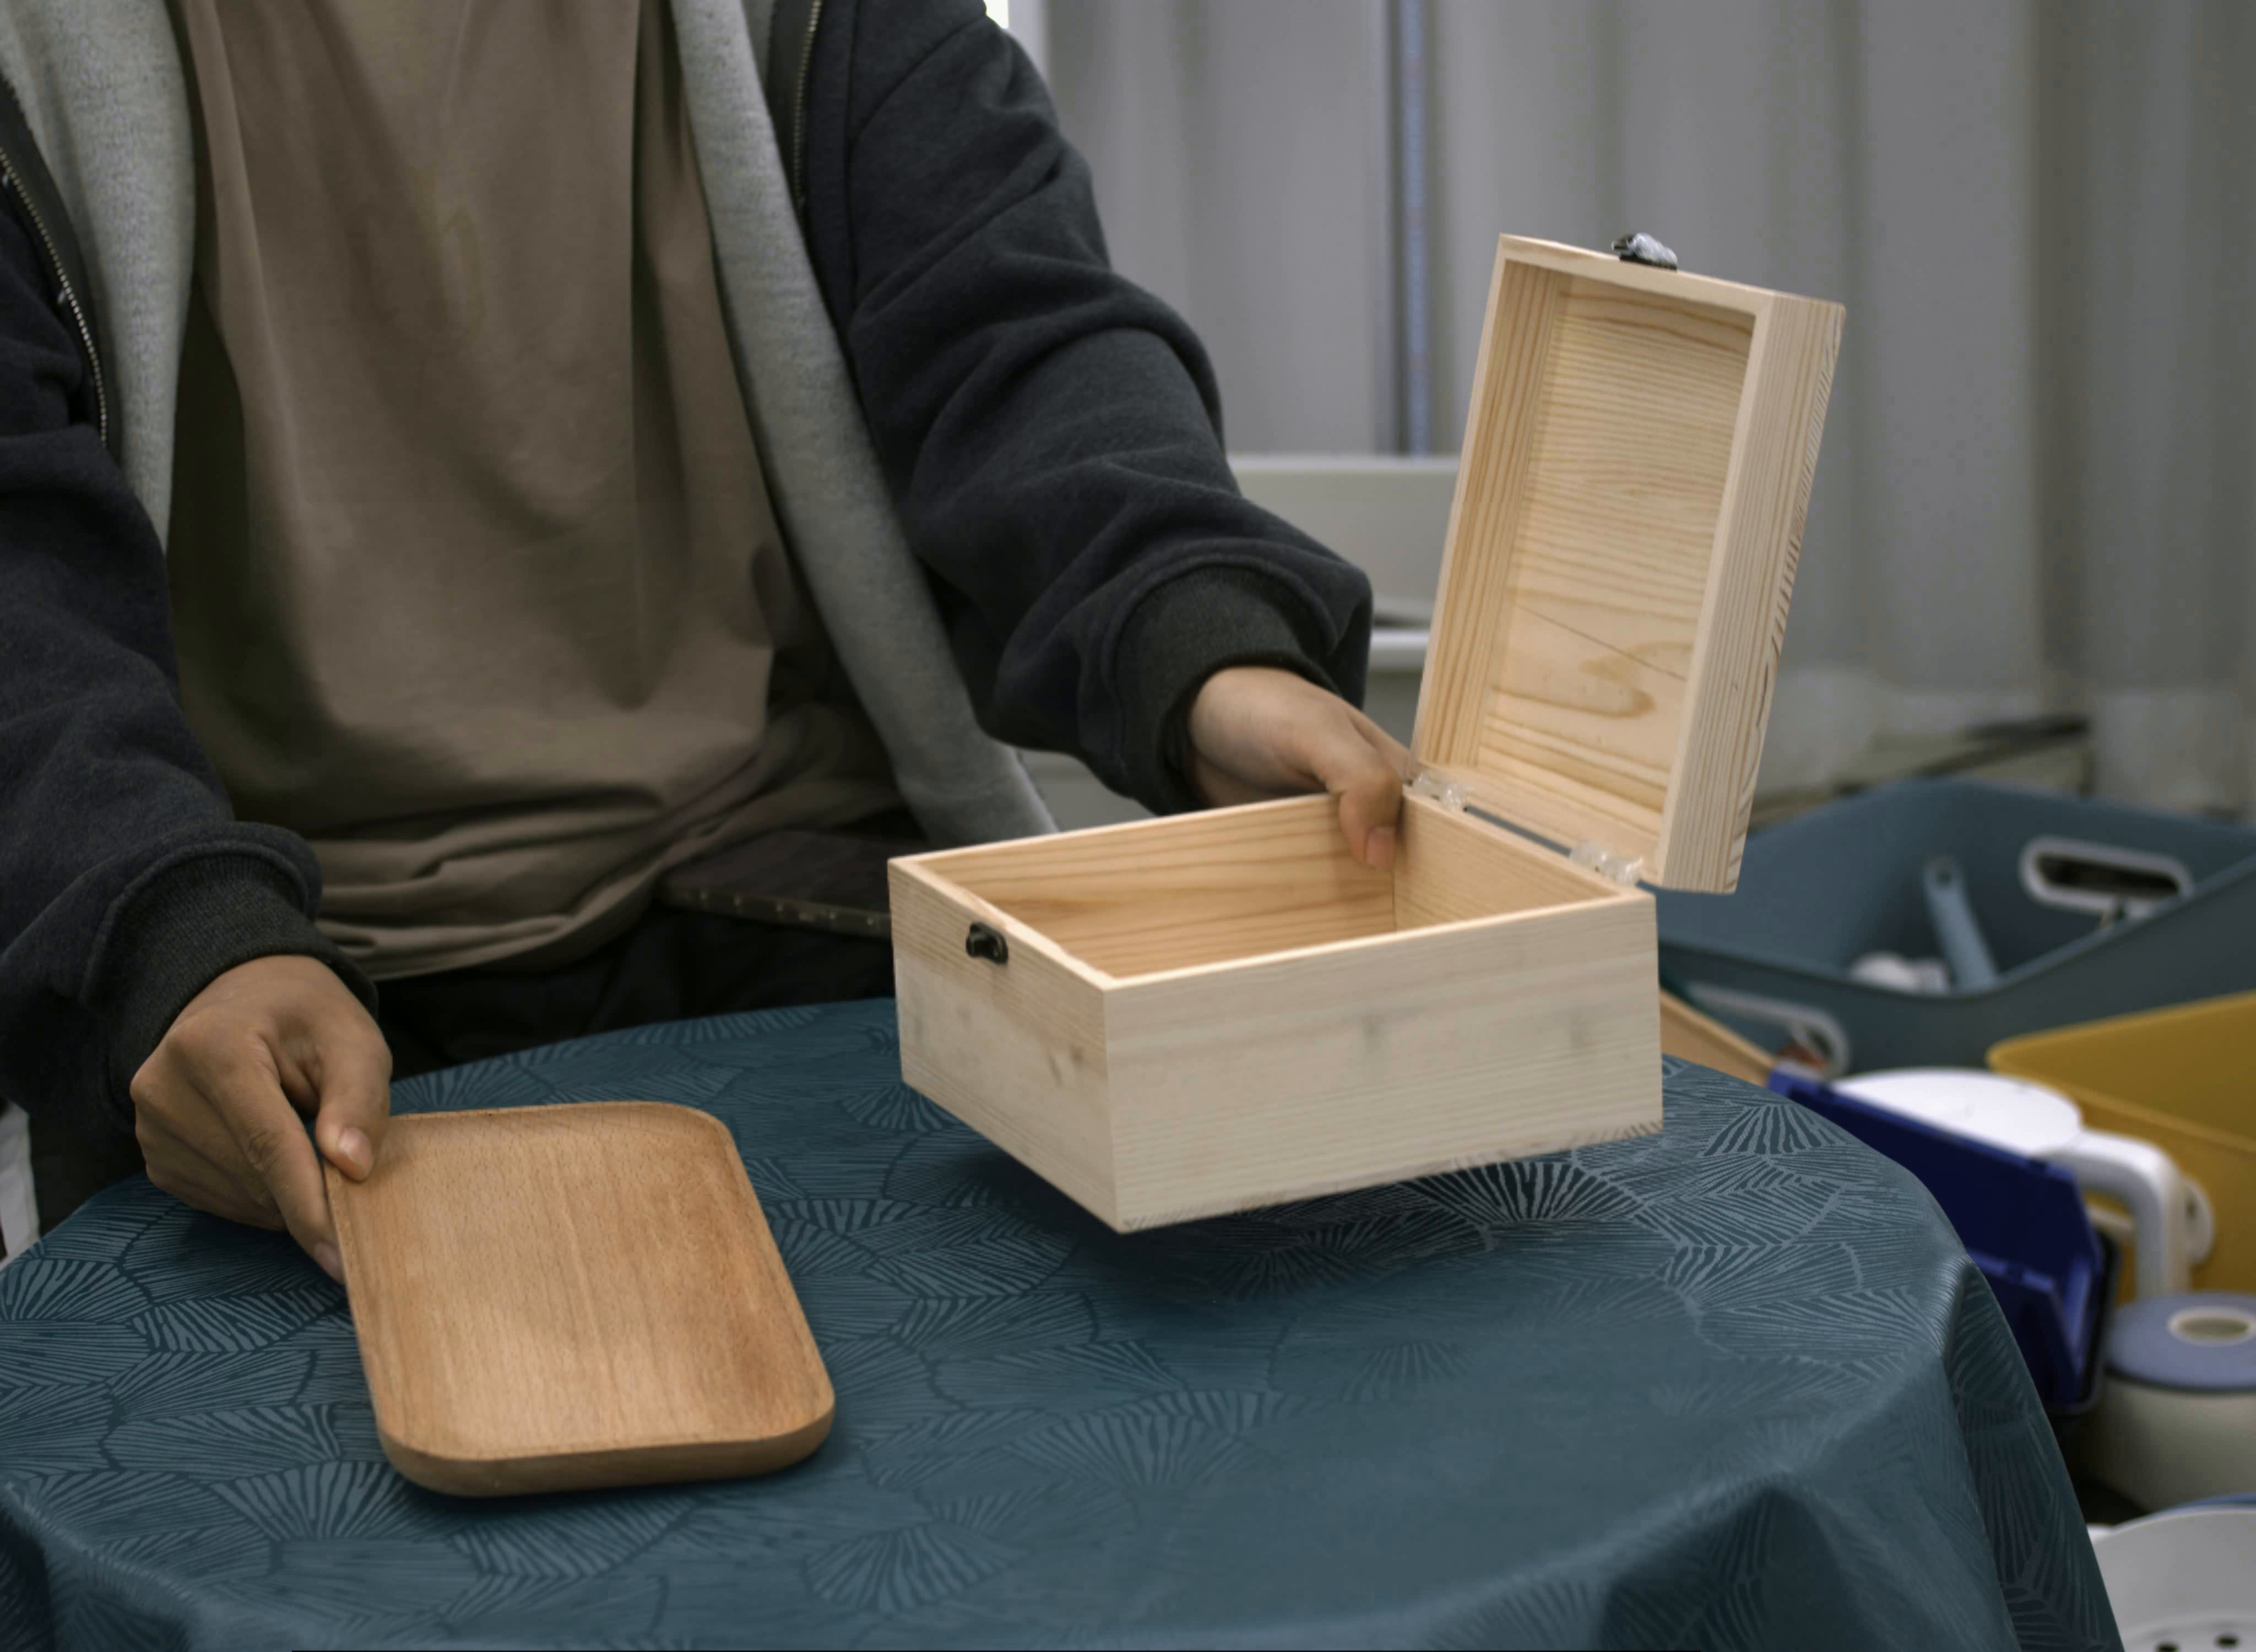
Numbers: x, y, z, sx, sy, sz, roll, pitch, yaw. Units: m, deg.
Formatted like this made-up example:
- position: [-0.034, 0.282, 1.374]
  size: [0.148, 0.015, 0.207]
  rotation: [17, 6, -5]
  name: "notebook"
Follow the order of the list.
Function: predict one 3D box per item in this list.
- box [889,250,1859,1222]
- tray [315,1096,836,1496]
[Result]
- position: [0.070, -0.038, 1.688]
  size: [0.264, 0.253, 0.183]
  rotation: [-7, 10, -22]
  name: "box"
- position: [-0.165, 0.134, 1.596]
  size: [0.130, 0.023, 0.253]
  rotation: [0, 18, -12]
  name: "tray"
